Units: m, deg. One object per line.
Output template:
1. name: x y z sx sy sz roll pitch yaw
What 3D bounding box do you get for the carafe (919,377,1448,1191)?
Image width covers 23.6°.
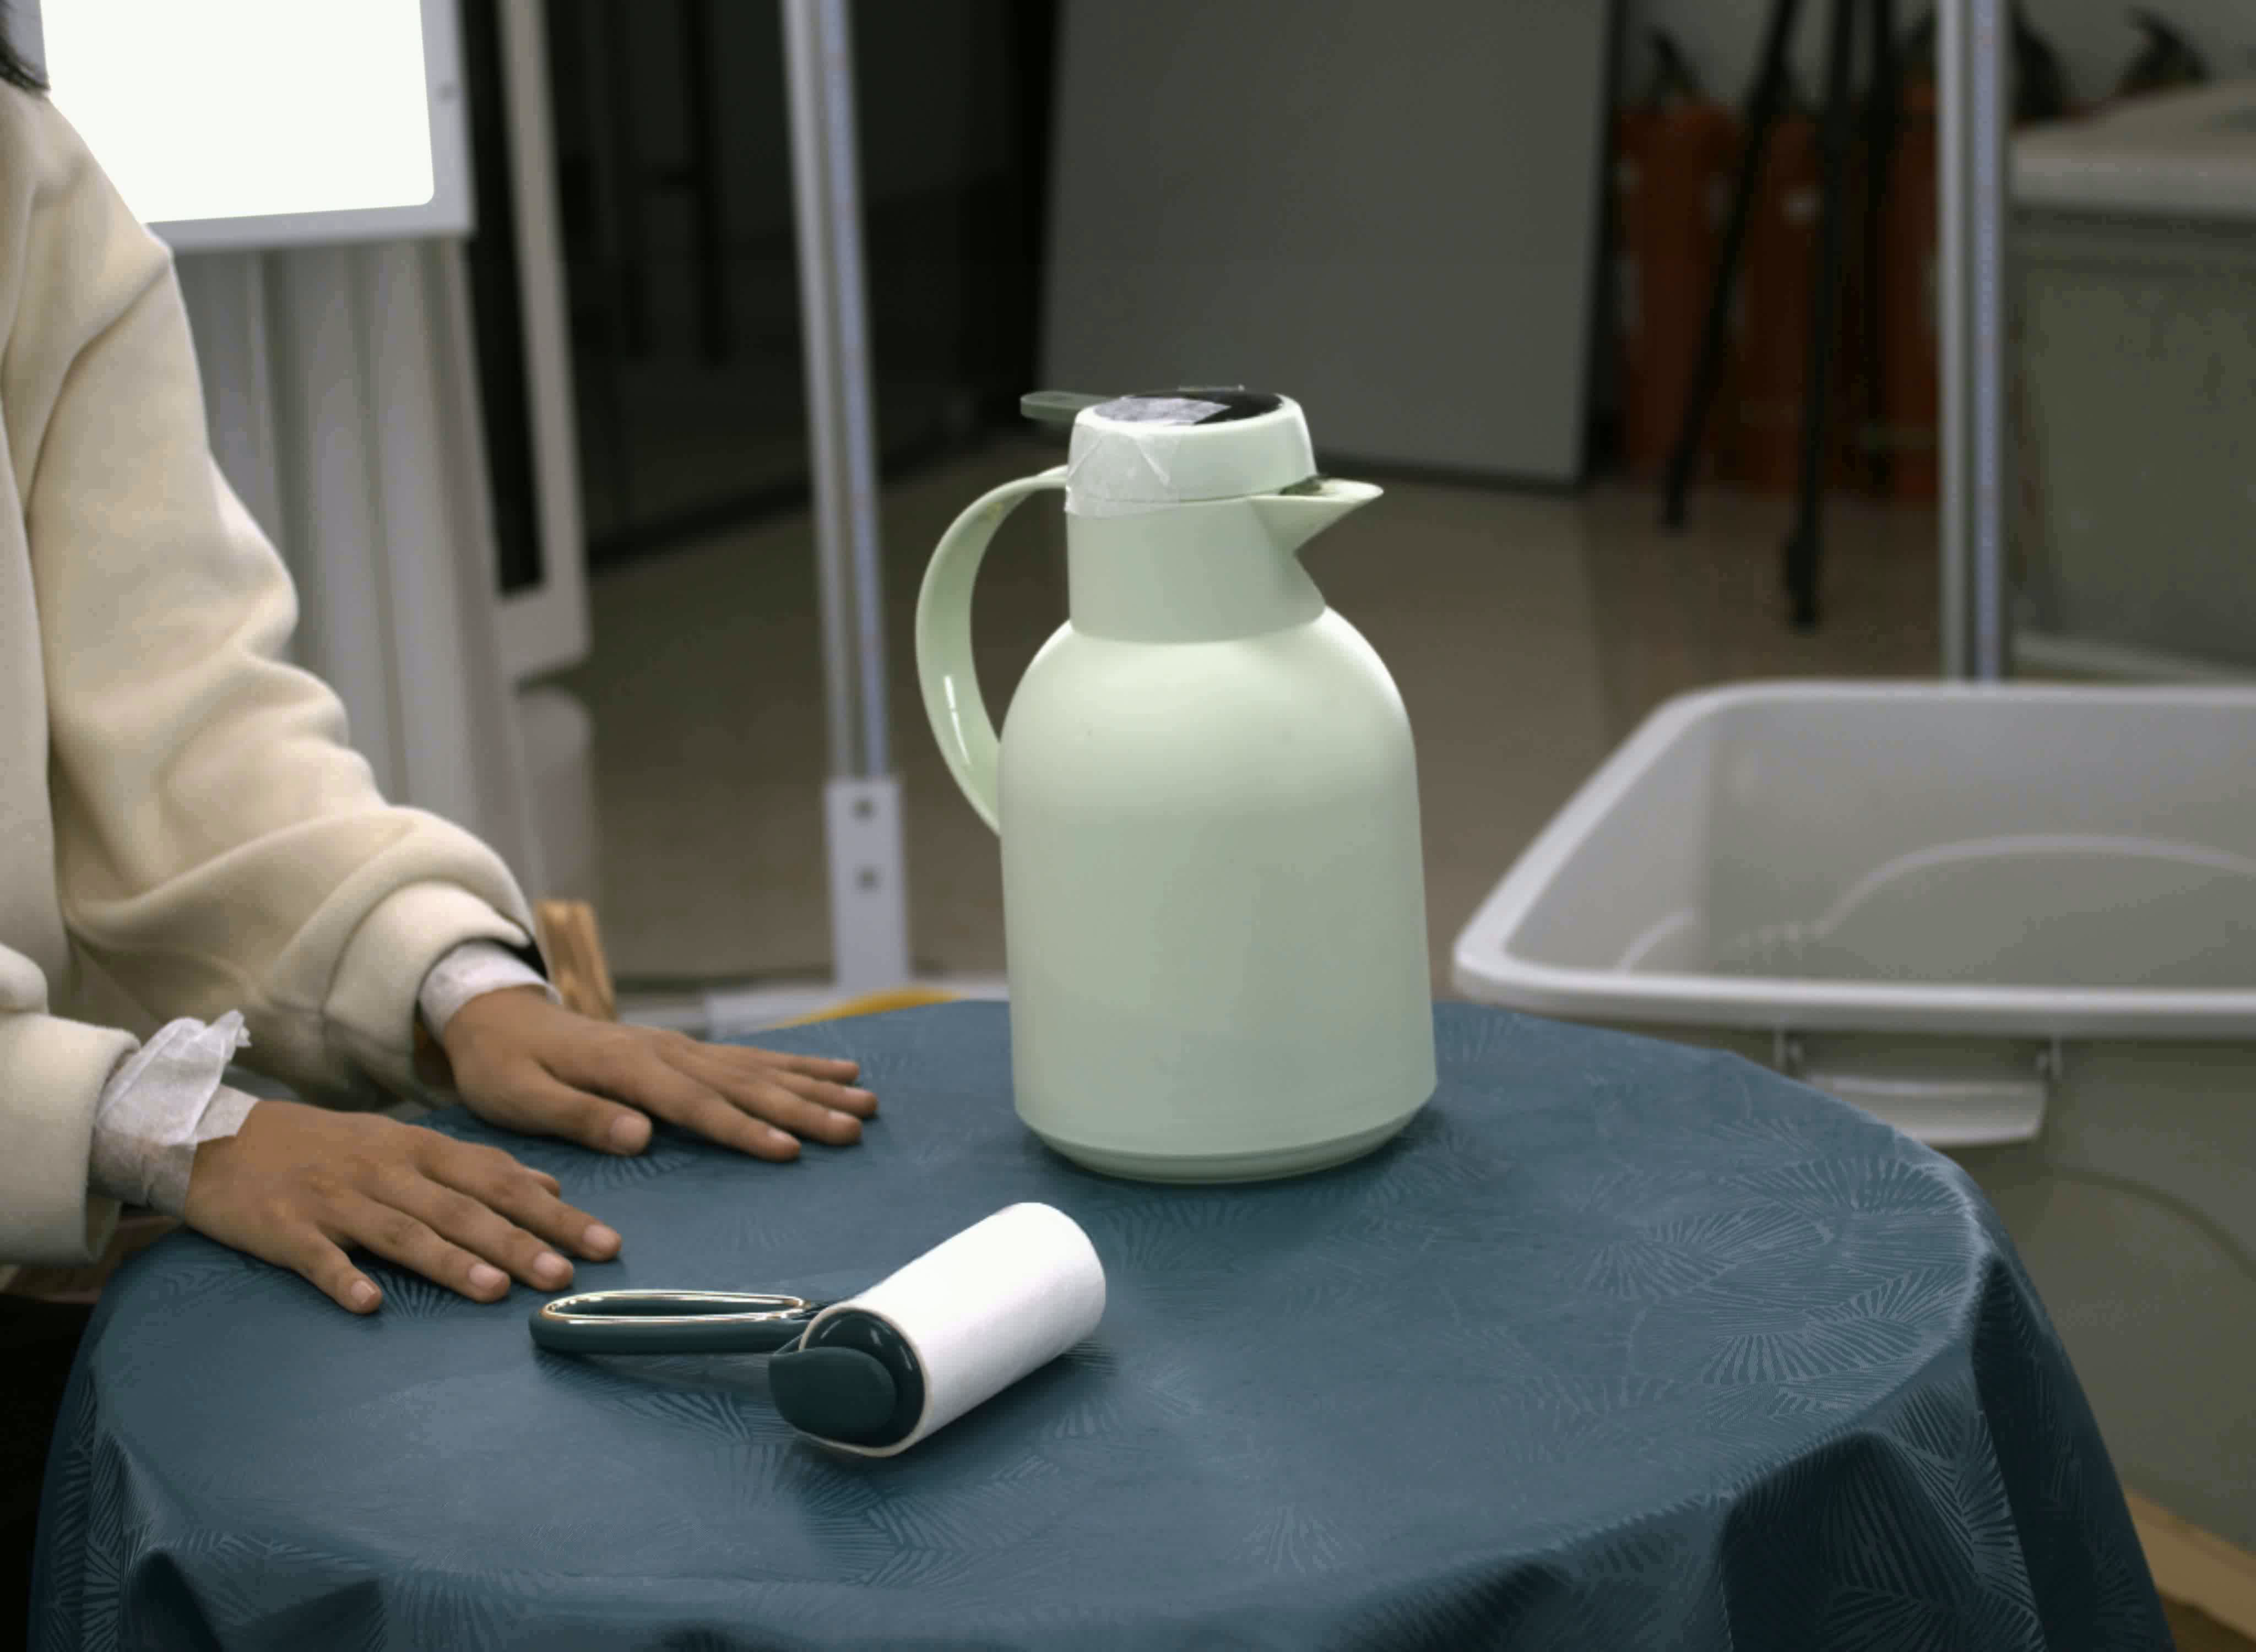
1. carafe: 0.016 -0.019 1.808 0.188 0.259 0.142 2 15 37

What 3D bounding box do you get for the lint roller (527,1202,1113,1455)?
1. lint roller: -0.108 0.142 1.617 0.181 0.049 0.132 4 15 32
